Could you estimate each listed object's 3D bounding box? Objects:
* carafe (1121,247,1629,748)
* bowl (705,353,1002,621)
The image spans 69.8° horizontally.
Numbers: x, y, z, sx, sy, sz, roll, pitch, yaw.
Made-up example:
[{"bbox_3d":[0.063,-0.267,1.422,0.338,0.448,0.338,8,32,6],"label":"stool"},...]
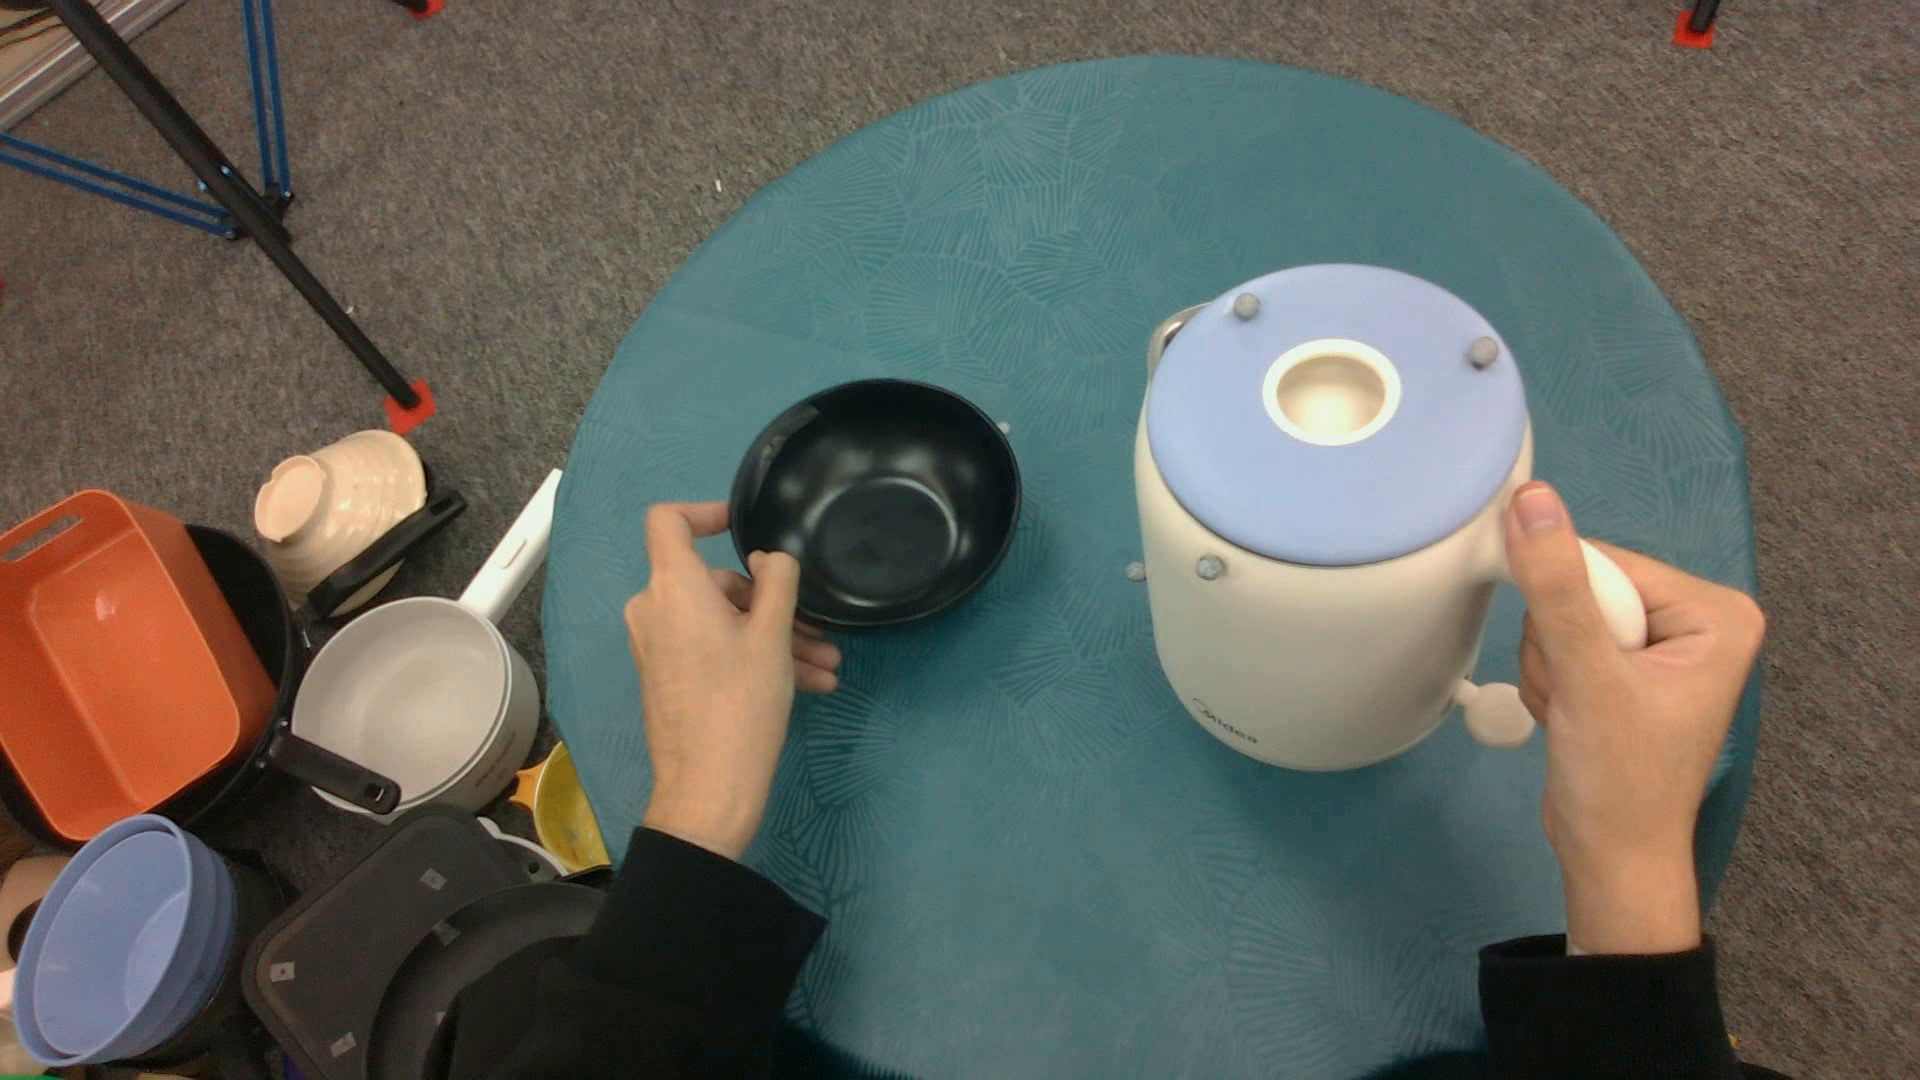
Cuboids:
[{"bbox_3d":[0.149,0.002,0.512,0.191,0.182,0.132,31,71,23],"label":"carafe"},{"bbox_3d":[-0.049,-0.019,0.660,0.140,0.049,0.140,-1,63,2],"label":"bowl"}]
